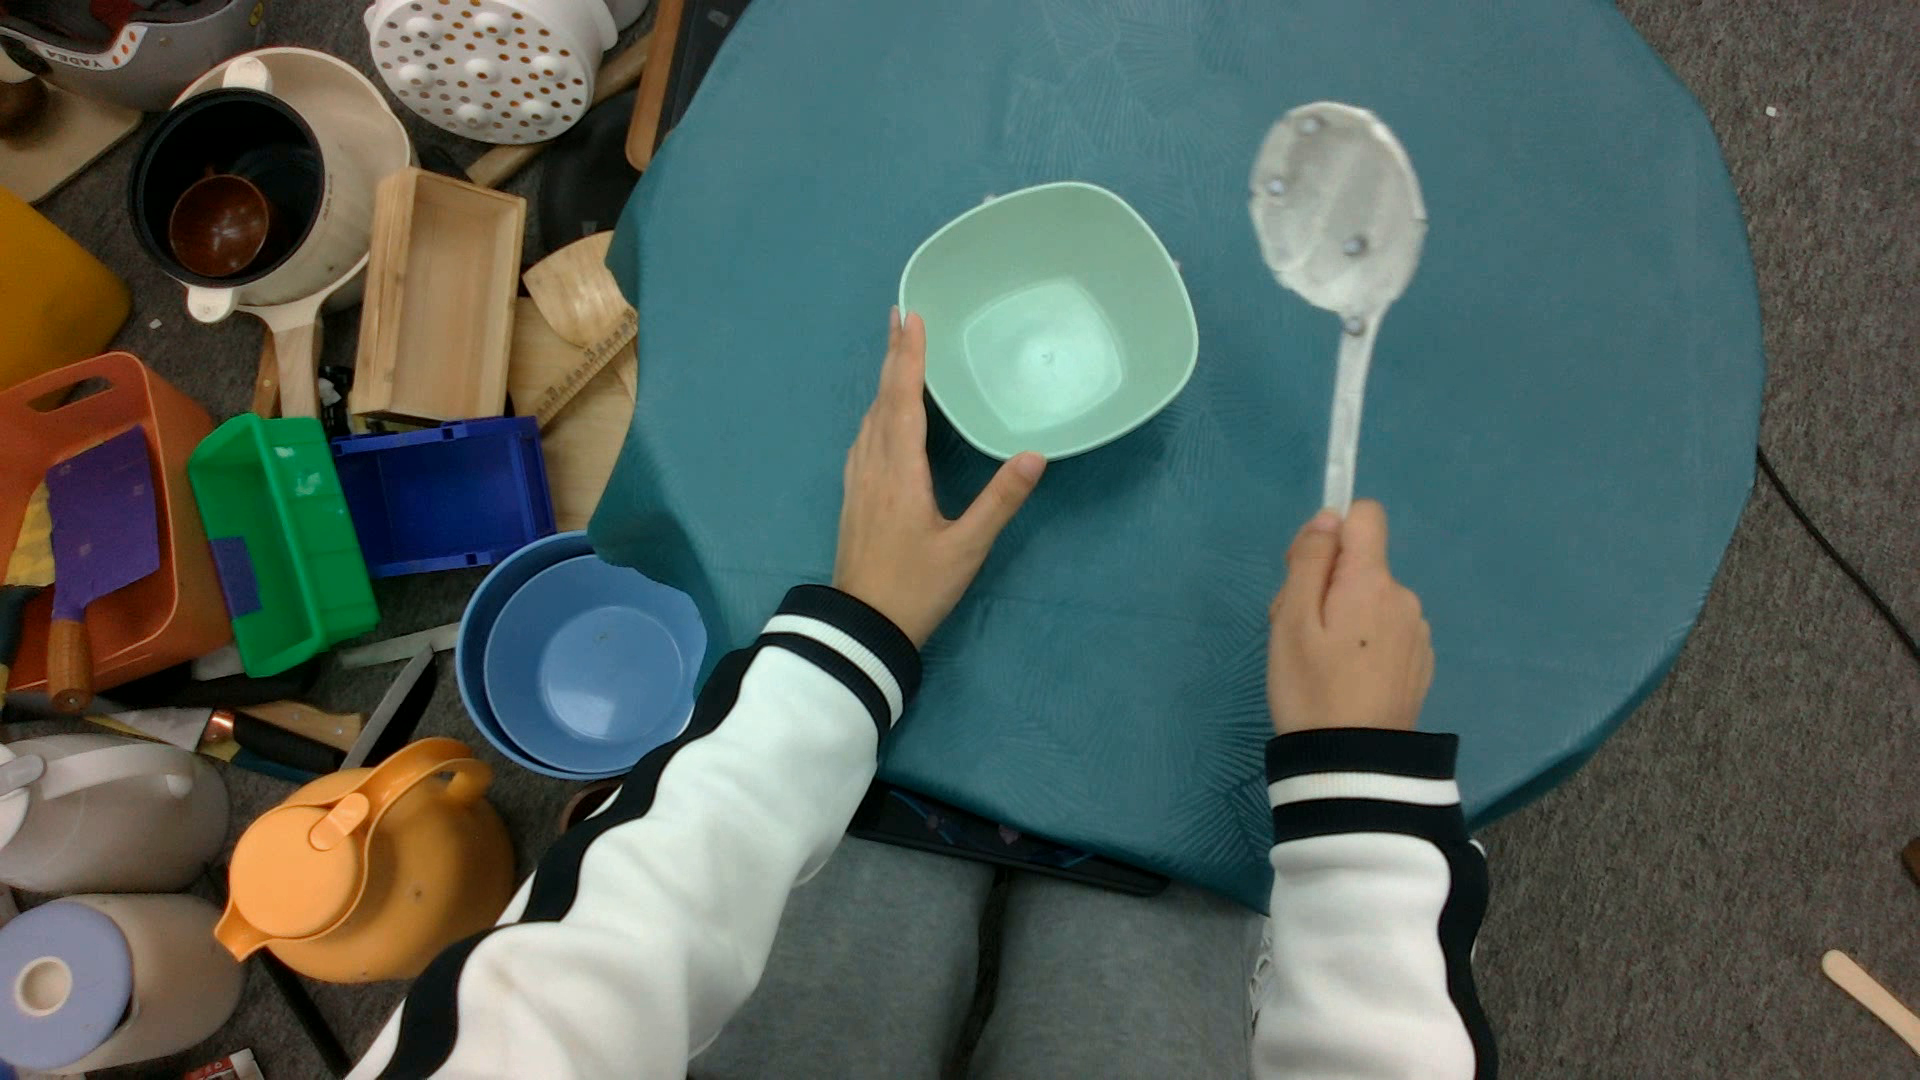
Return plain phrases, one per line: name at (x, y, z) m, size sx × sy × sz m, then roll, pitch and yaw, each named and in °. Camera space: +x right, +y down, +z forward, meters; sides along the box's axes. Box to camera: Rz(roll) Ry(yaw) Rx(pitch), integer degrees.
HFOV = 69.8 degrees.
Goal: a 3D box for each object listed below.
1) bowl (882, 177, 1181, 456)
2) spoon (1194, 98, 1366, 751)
bowl at (0.035, -0.106, 0.703) m, size 0.151 × 0.058 × 0.152 m, roll 0°, pitch 75°, yaw 0°
spoon at (0.127, -0.047, 0.601) m, size 0.059 × 0.100 × 0.277 m, roll 6°, pitch 91°, yaw -24°
